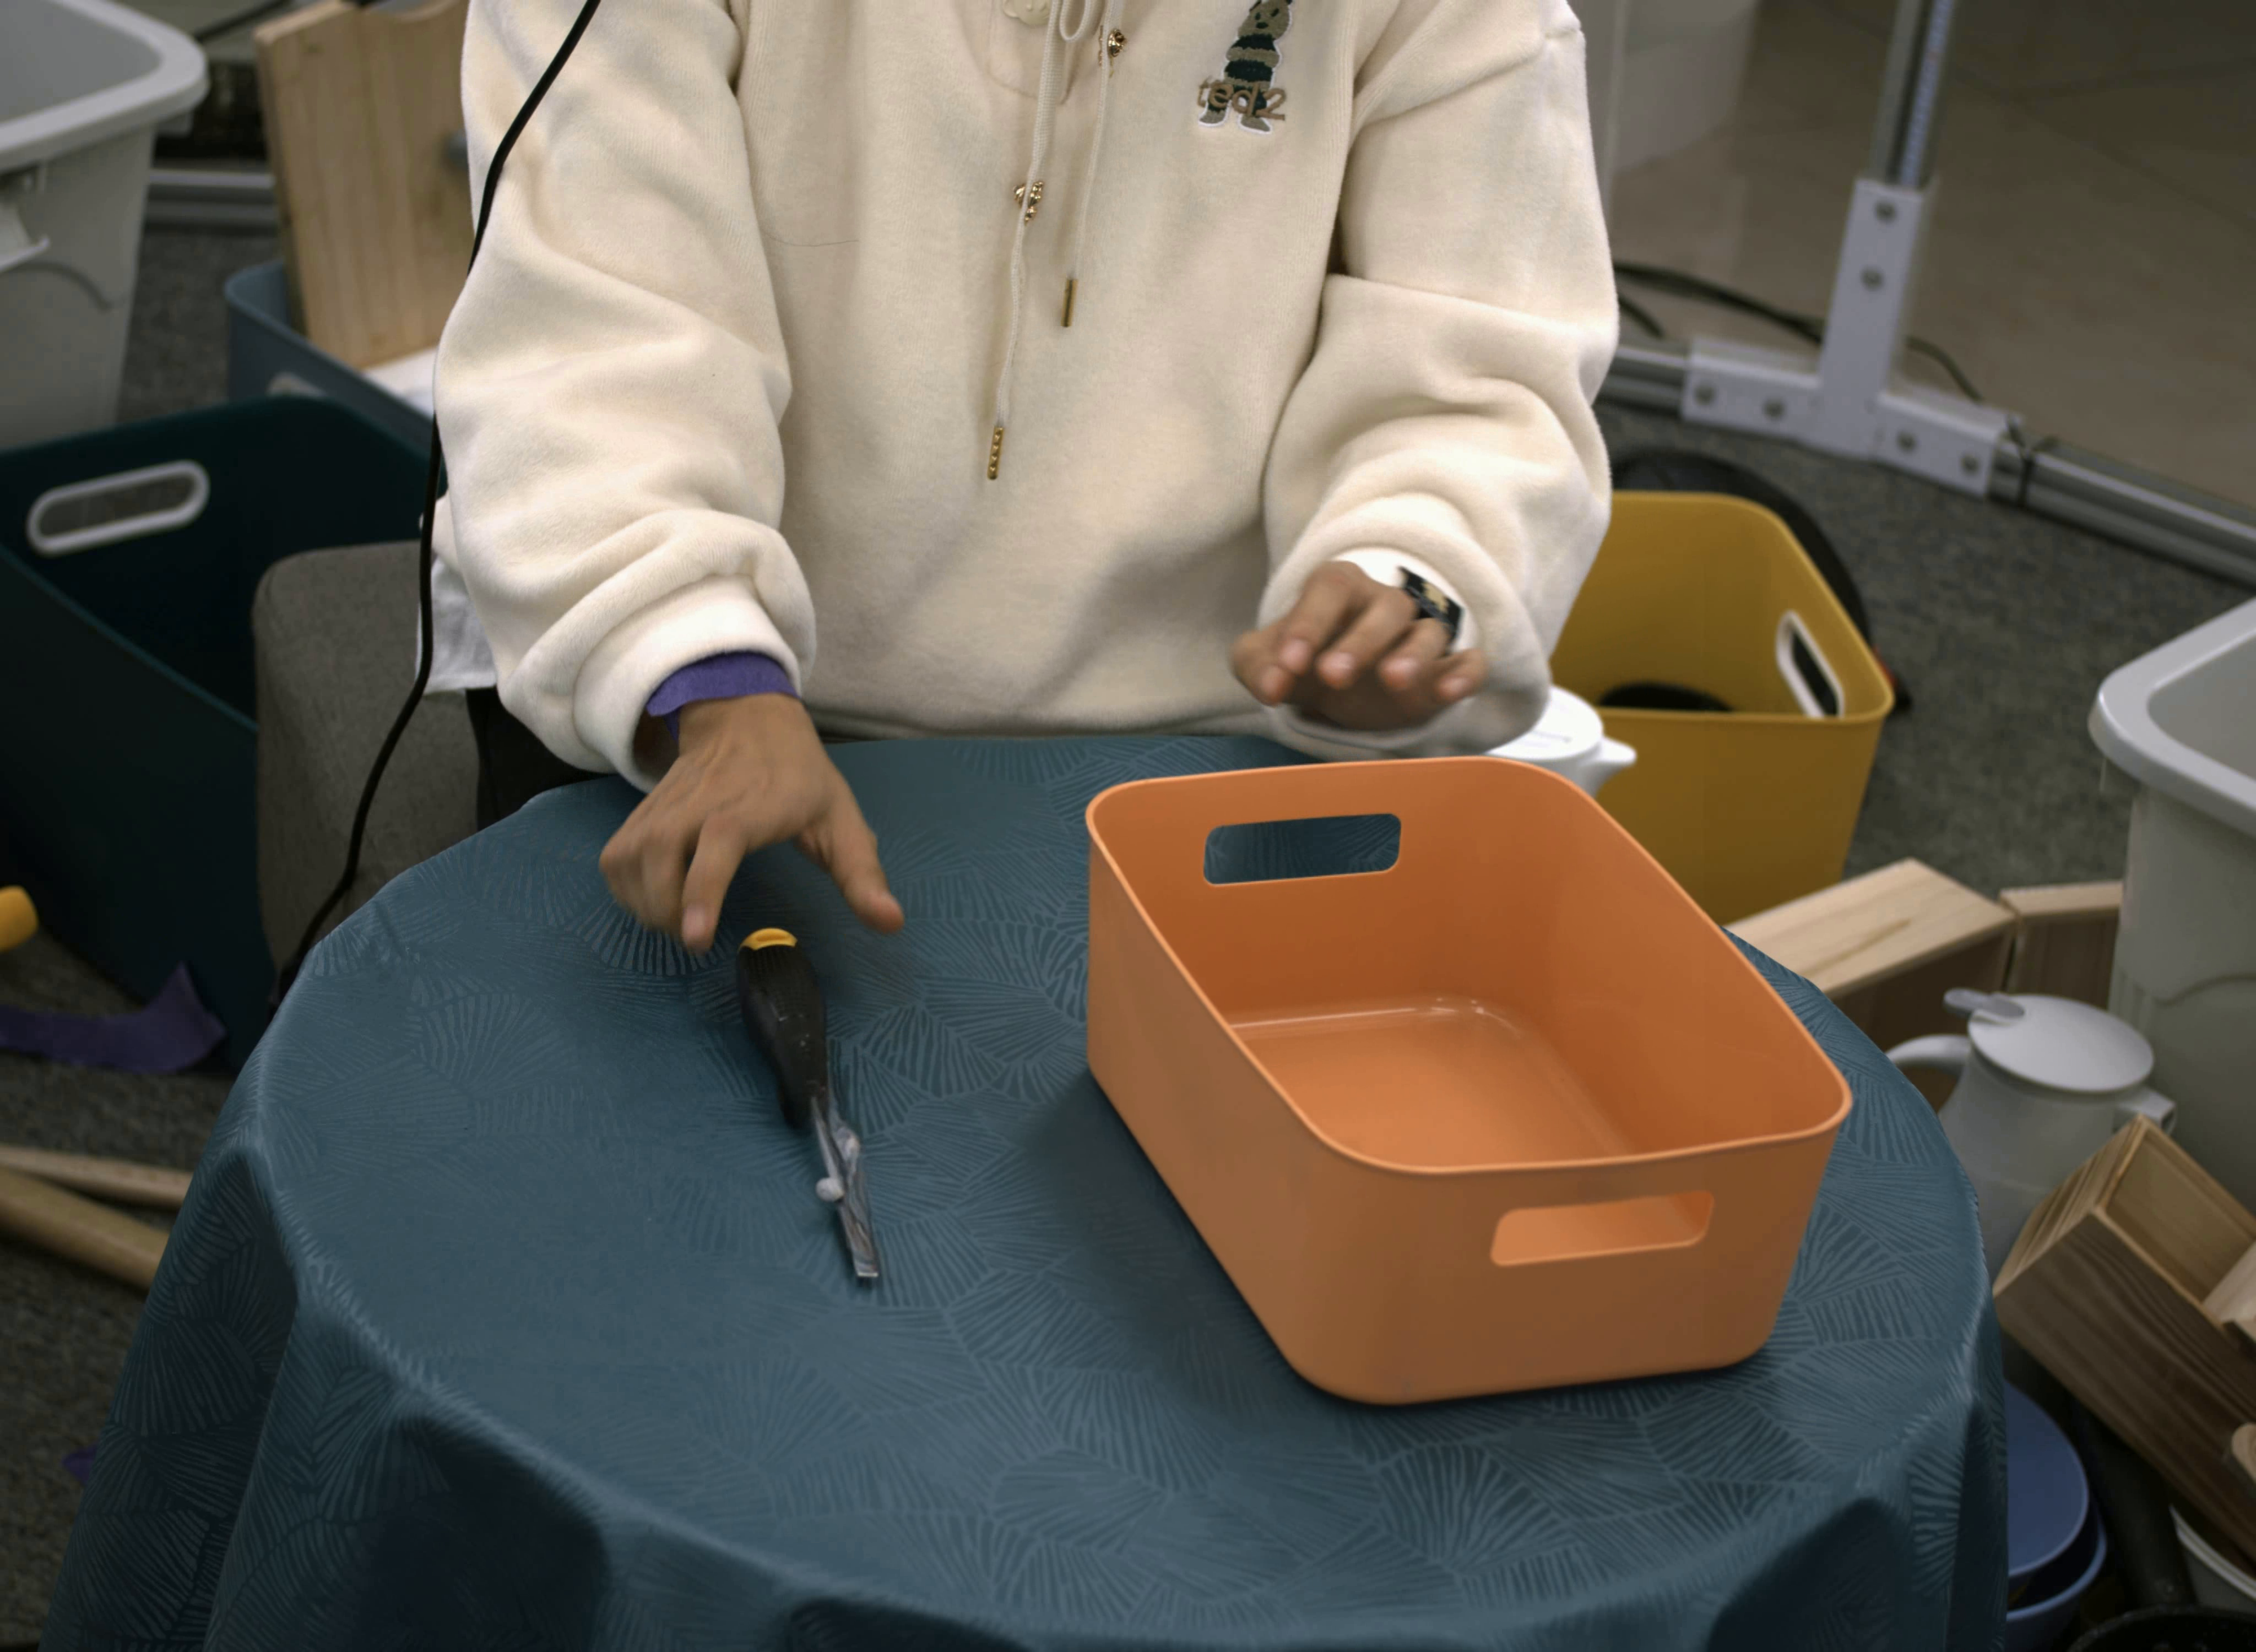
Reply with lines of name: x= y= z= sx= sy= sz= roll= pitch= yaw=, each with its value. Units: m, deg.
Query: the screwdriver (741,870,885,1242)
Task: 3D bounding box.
screwdriver: x=-0.101 y=0.079 z=1.815 sx=0.031 sy=0.031 sz=0.200 roll=-2 pitch=36 yaw=-18

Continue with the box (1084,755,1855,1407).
box: x=0.105 y=0.084 z=1.790 sx=0.198 sy=0.102 sz=0.275 roll=-5 pitch=29 yaw=-20
